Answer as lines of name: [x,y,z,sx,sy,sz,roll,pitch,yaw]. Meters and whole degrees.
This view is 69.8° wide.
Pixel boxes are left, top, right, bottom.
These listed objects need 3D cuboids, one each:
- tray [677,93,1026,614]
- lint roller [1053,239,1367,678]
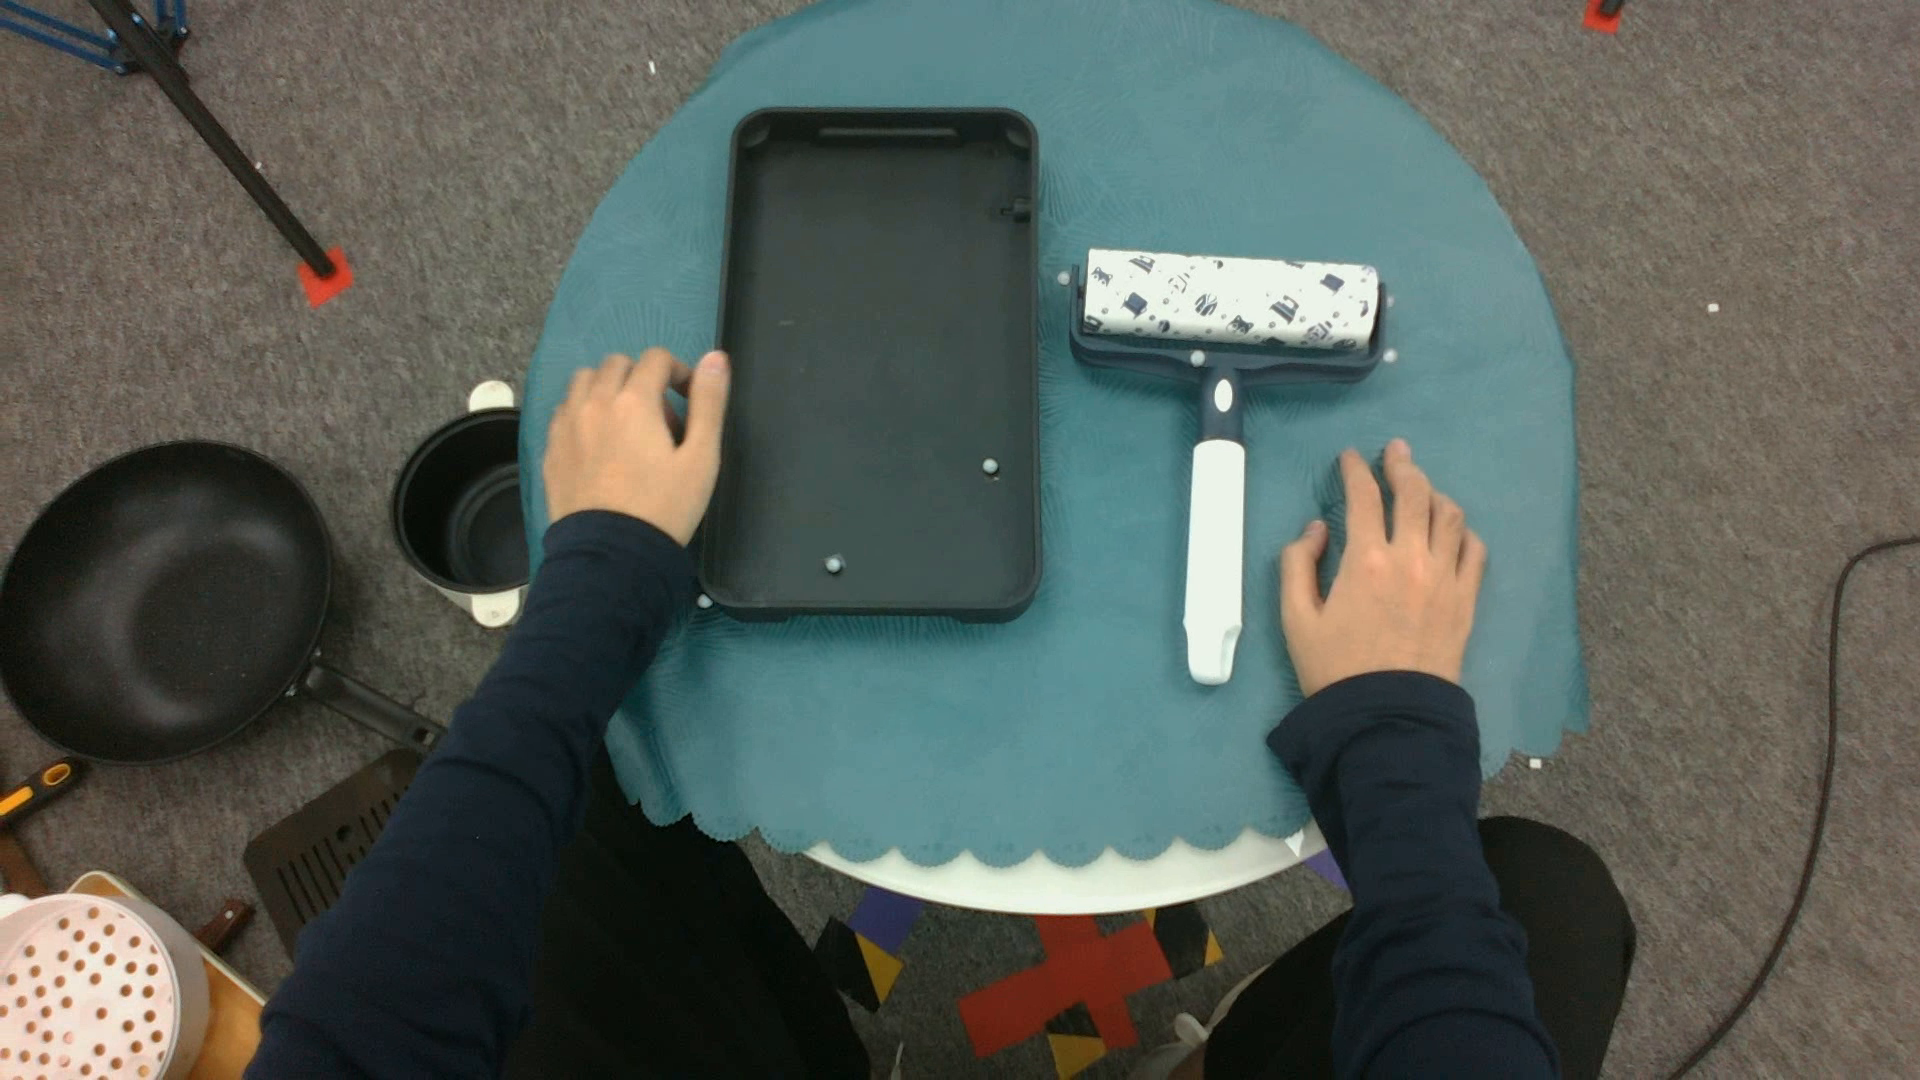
tray: [-0.057,-0.112,0.783,0.184,0.037,0.319,0,69,1]
lint roller: [0.135,-0.048,0.755,0.176,0.050,0.248,4,72,1]
